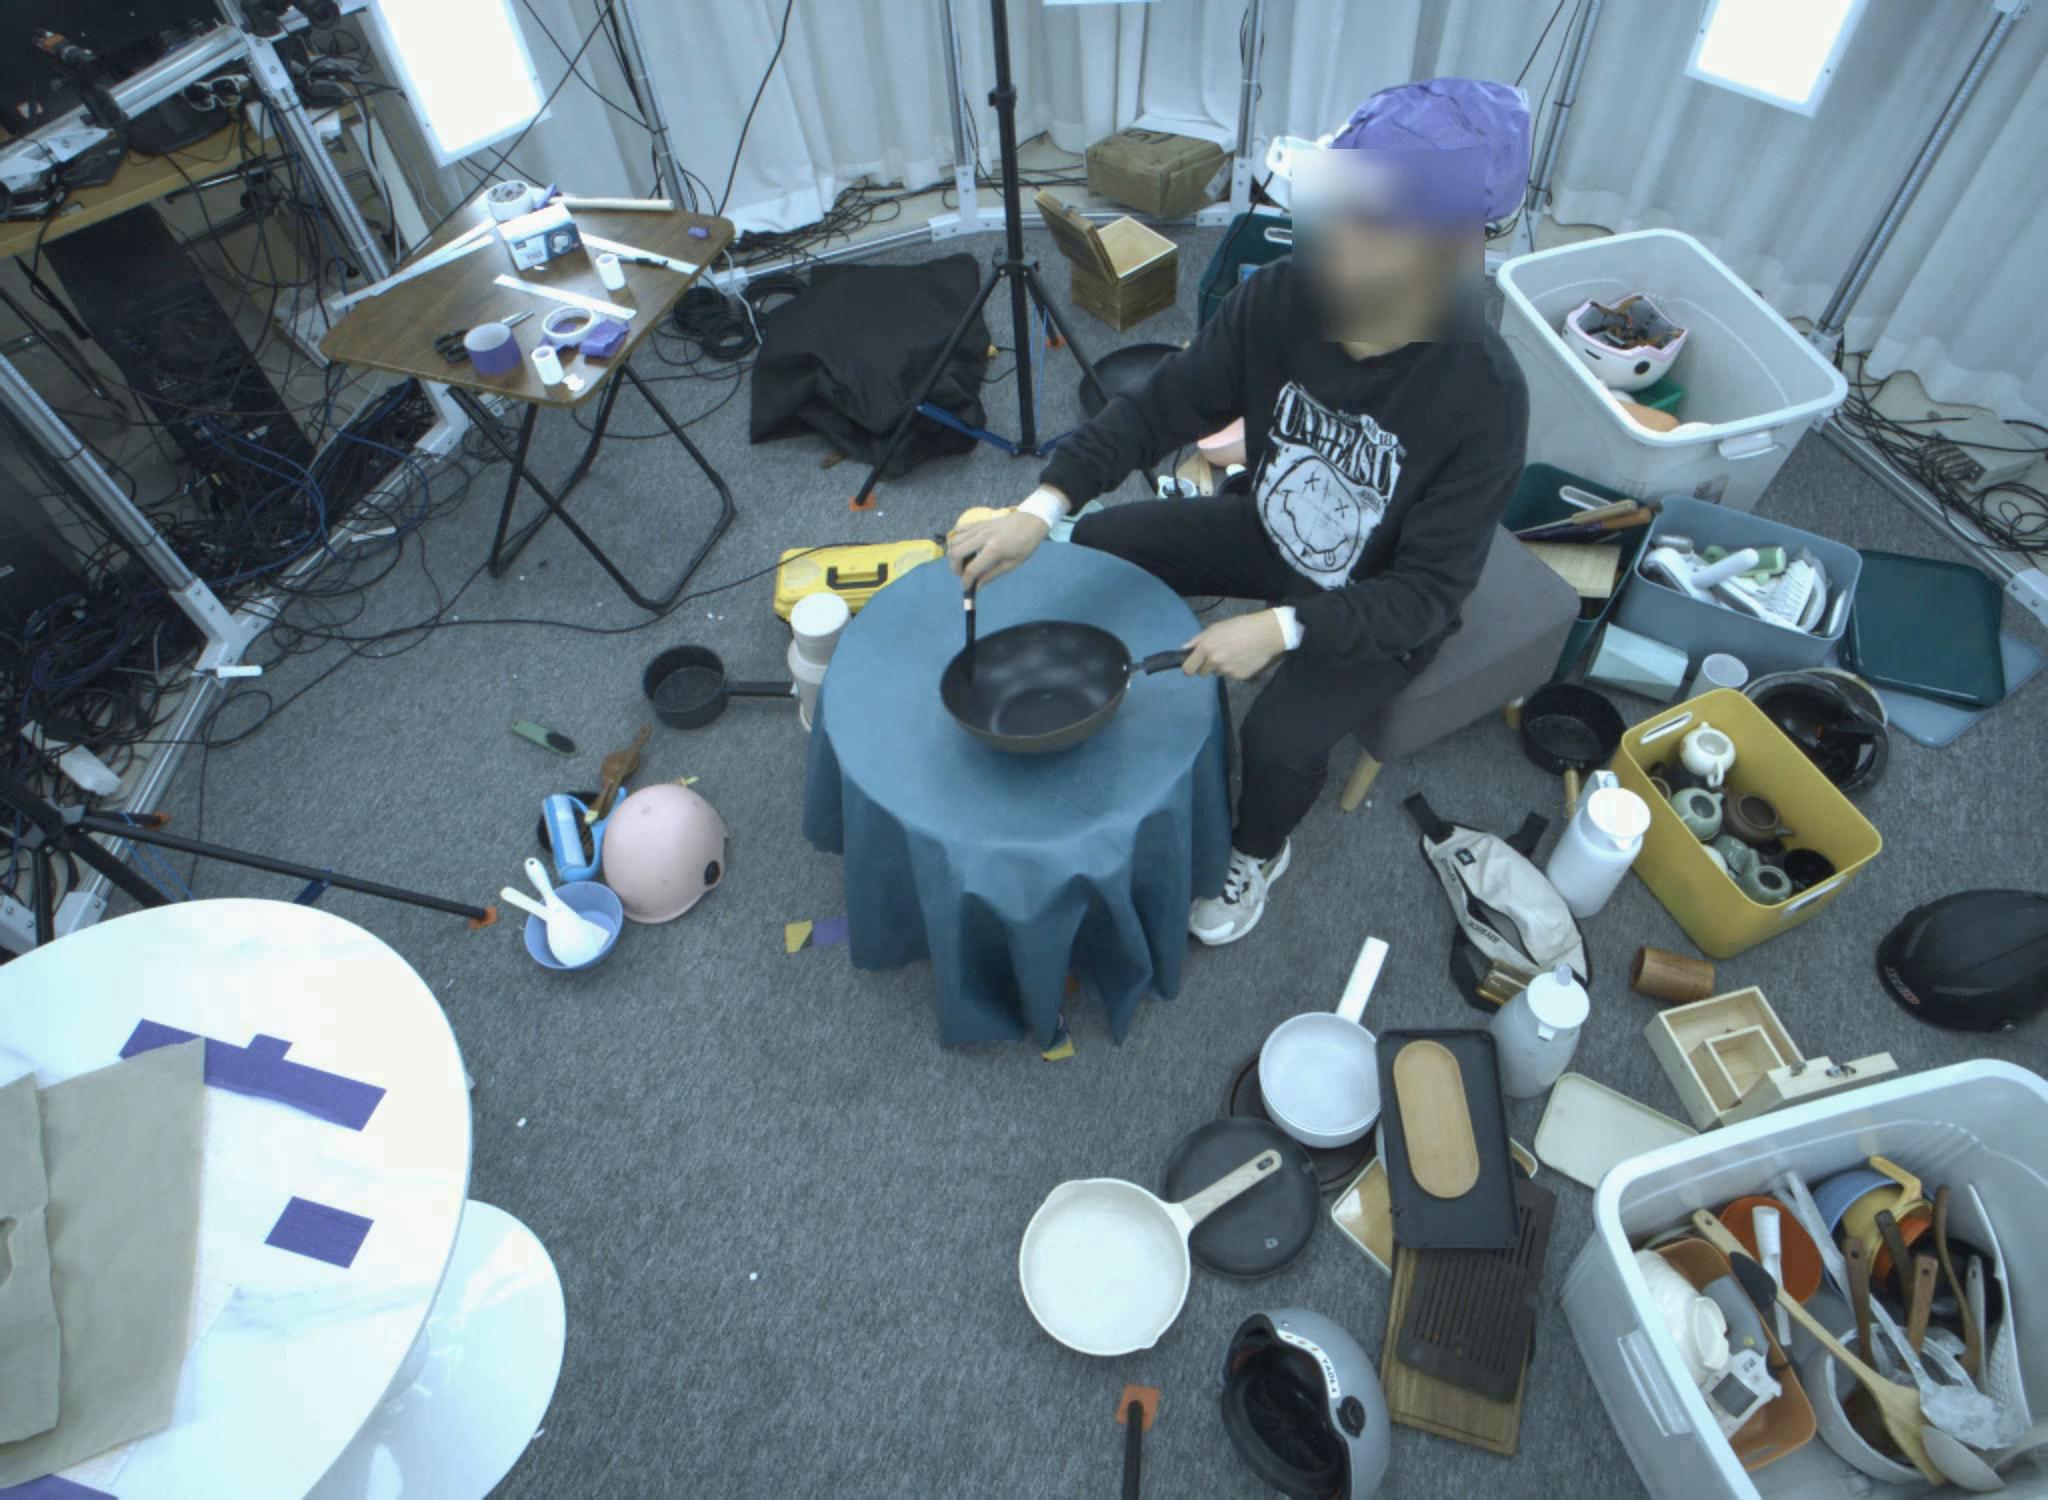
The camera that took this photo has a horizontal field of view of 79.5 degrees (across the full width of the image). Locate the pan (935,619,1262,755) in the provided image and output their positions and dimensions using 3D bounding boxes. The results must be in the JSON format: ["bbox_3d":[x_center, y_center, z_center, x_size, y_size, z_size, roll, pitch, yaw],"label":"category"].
[{"bbox_3d":[0.107,-0.090,1.763,0.463,0.088,0.285,-6,39,3],"label":"pan"}]

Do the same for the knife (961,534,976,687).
[{"bbox_3d":[-0.082,-0.204,1.805,0.017,0.226,0.026,3,9,25],"label":"knife"}]
